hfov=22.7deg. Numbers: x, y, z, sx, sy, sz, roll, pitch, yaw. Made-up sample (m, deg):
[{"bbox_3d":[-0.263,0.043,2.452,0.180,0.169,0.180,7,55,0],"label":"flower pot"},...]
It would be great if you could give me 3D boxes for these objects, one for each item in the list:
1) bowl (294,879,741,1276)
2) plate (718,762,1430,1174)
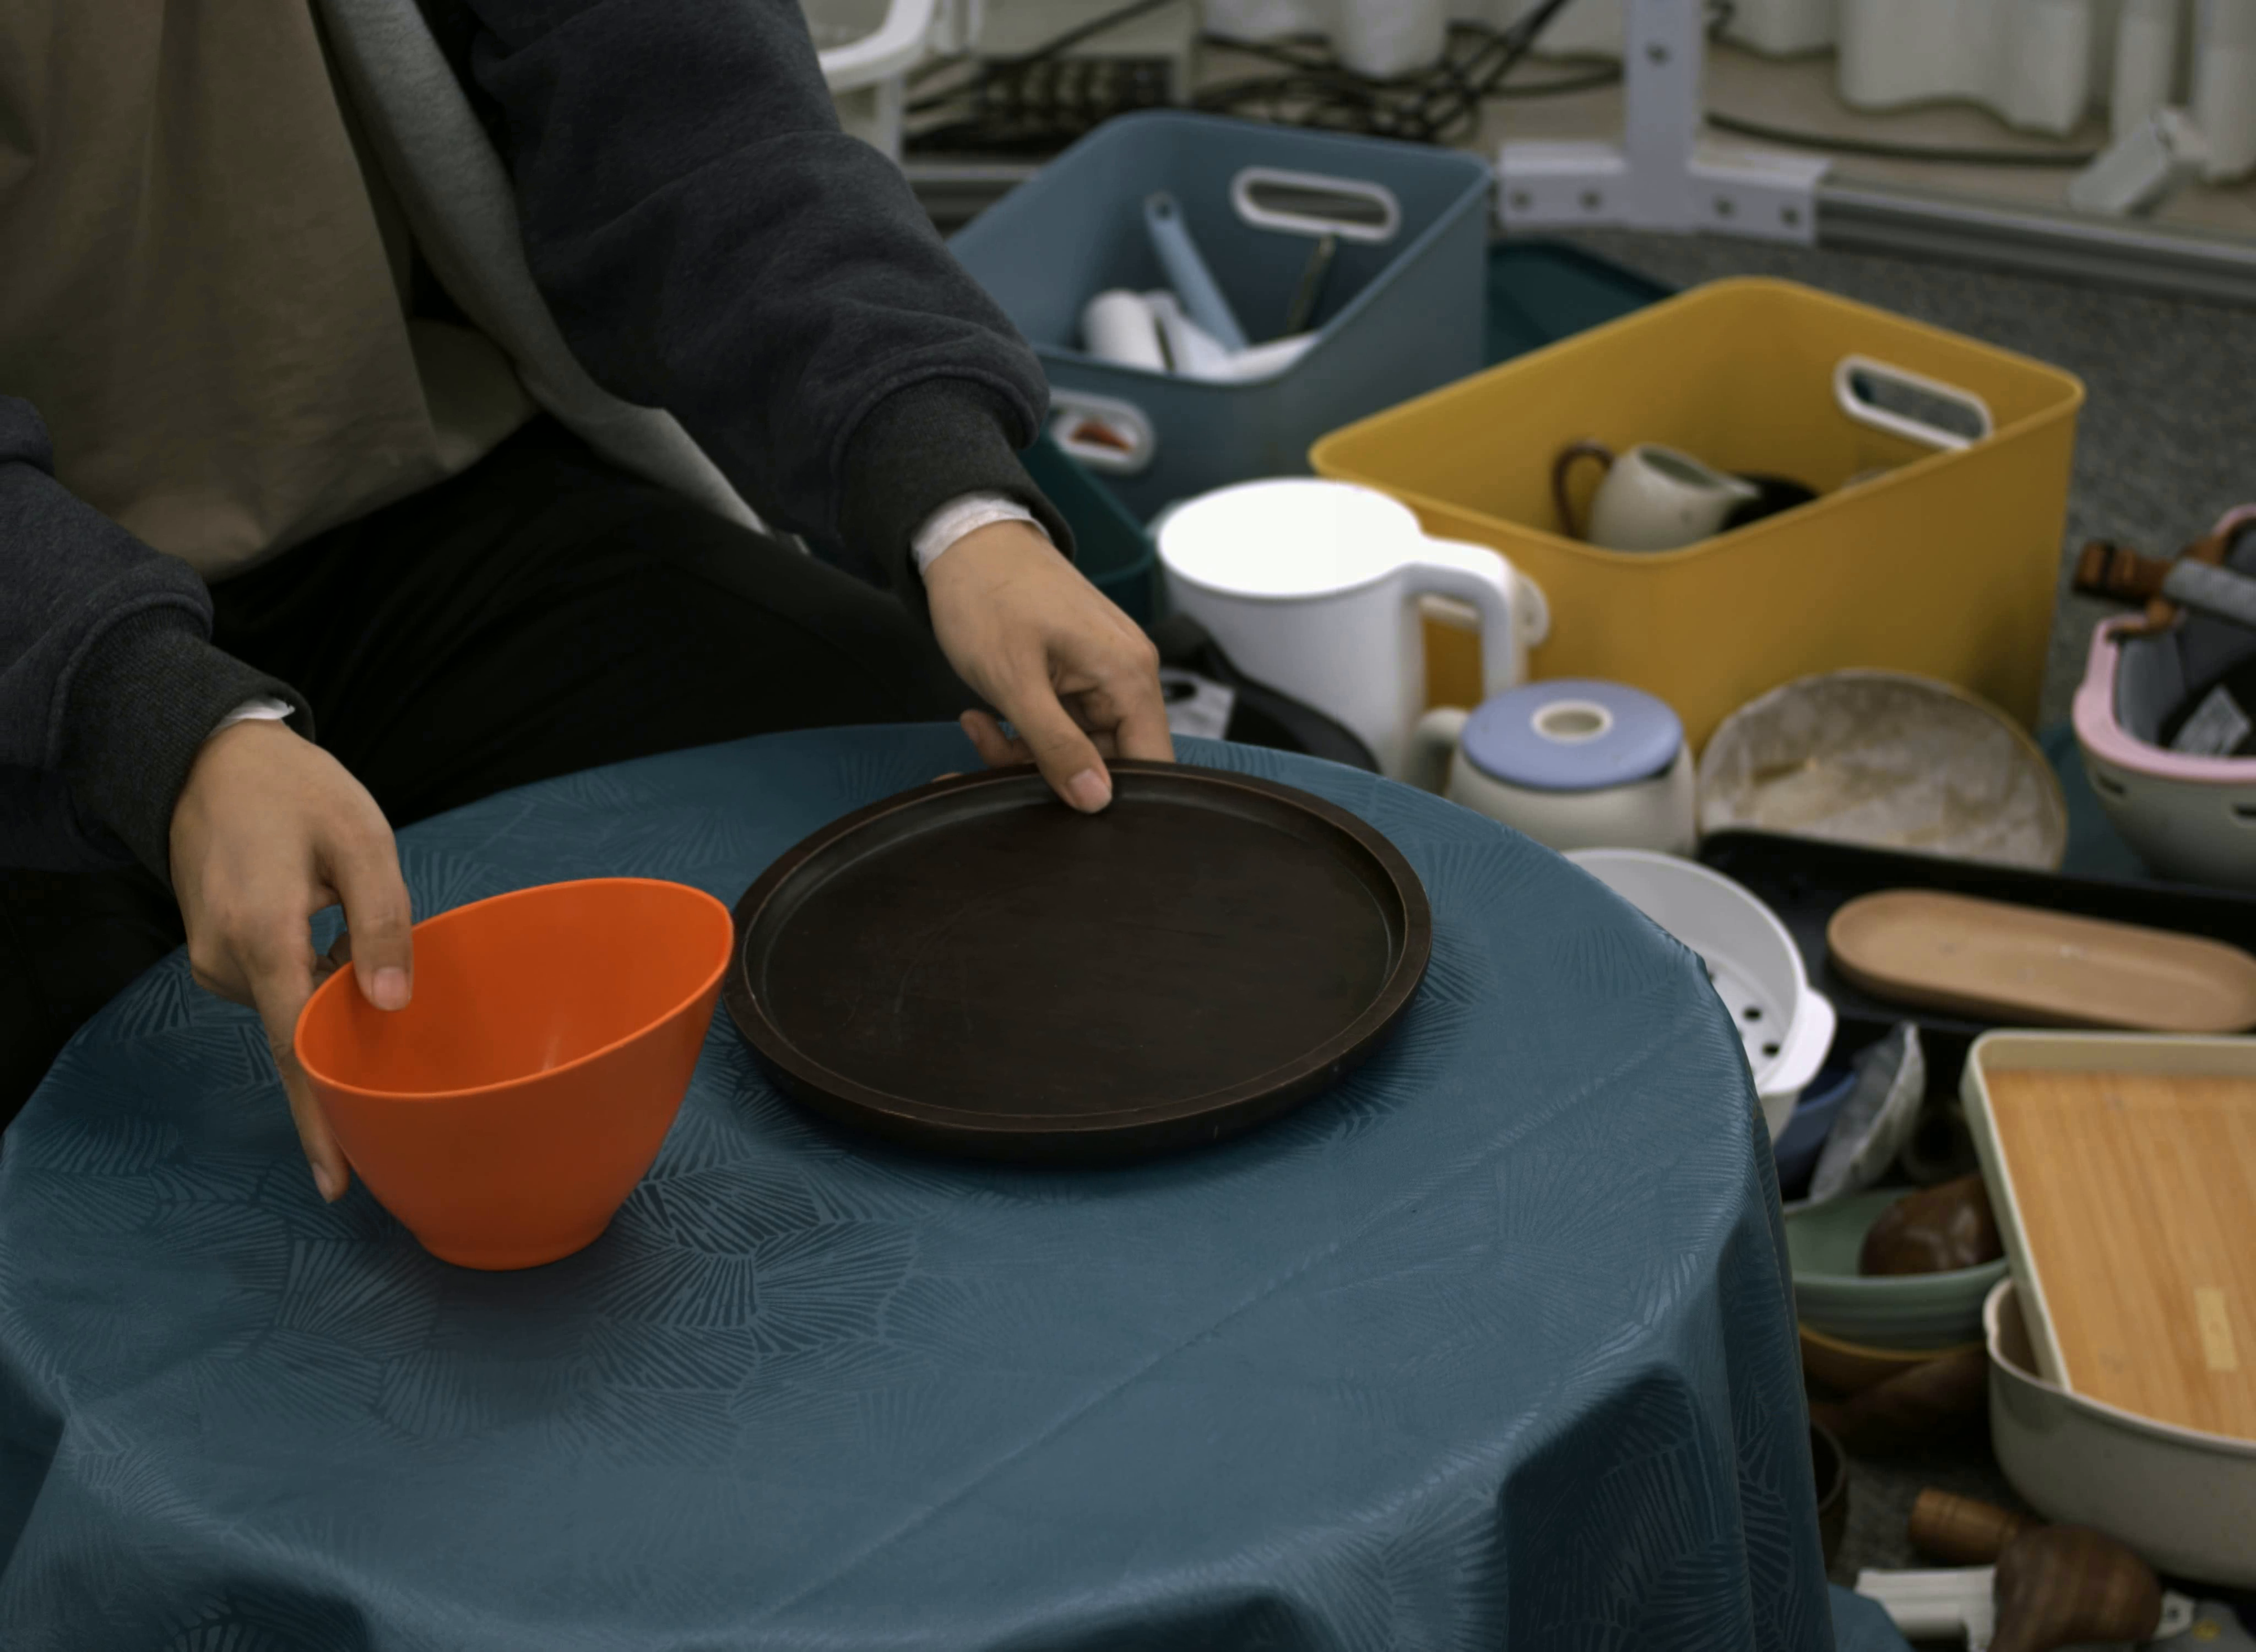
[{"bbox_3d":[-0.196,0.088,1.838,0.147,0.103,0.150,-3,28,2],"label":"bowl"},{"bbox_3d":[-0.019,0.048,1.975,0.253,0.029,0.259,-3,30,2],"label":"plate"}]
